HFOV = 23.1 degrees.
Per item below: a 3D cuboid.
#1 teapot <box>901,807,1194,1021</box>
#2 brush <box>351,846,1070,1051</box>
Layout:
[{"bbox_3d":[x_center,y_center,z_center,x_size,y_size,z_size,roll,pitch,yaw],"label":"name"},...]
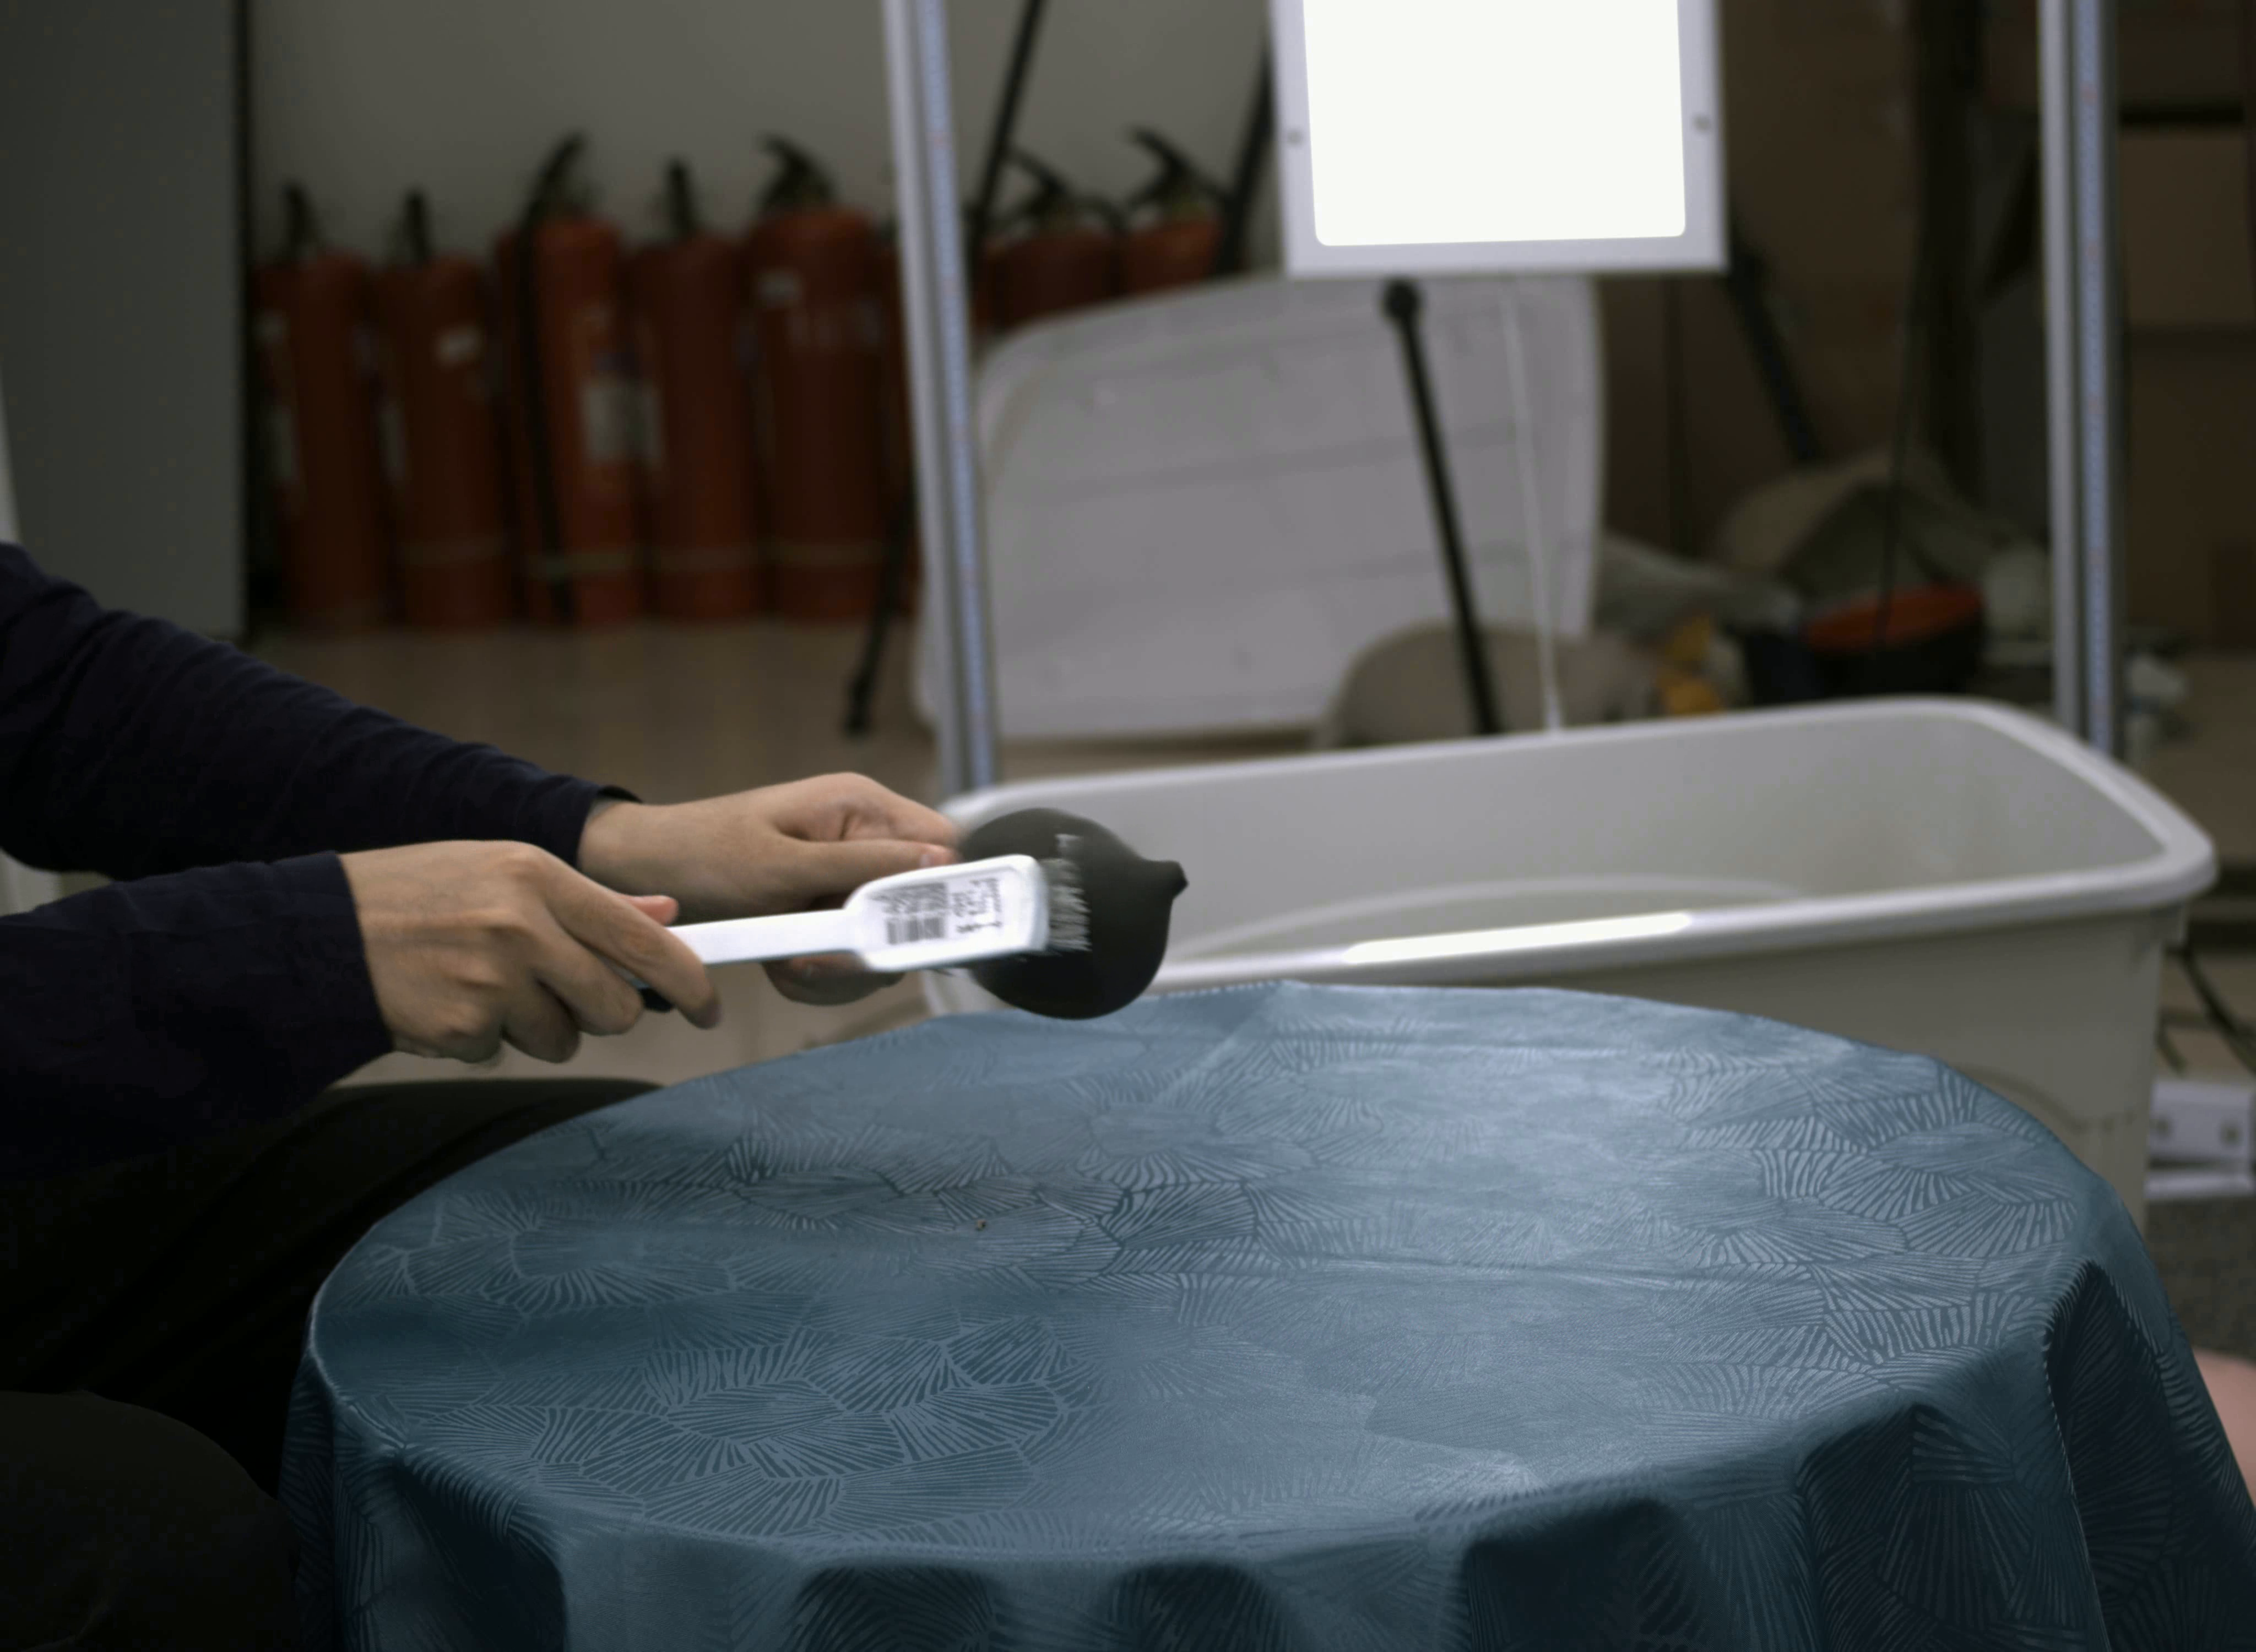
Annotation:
[{"bbox_3d":[-0.034,0.029,1.902,0.116,0.082,0.052,2,54,31],"label":"teapot"},{"bbox_3d":[-0.140,0.044,1.859,0.245,0.034,0.050,-11,-5,9],"label":"brush"}]
